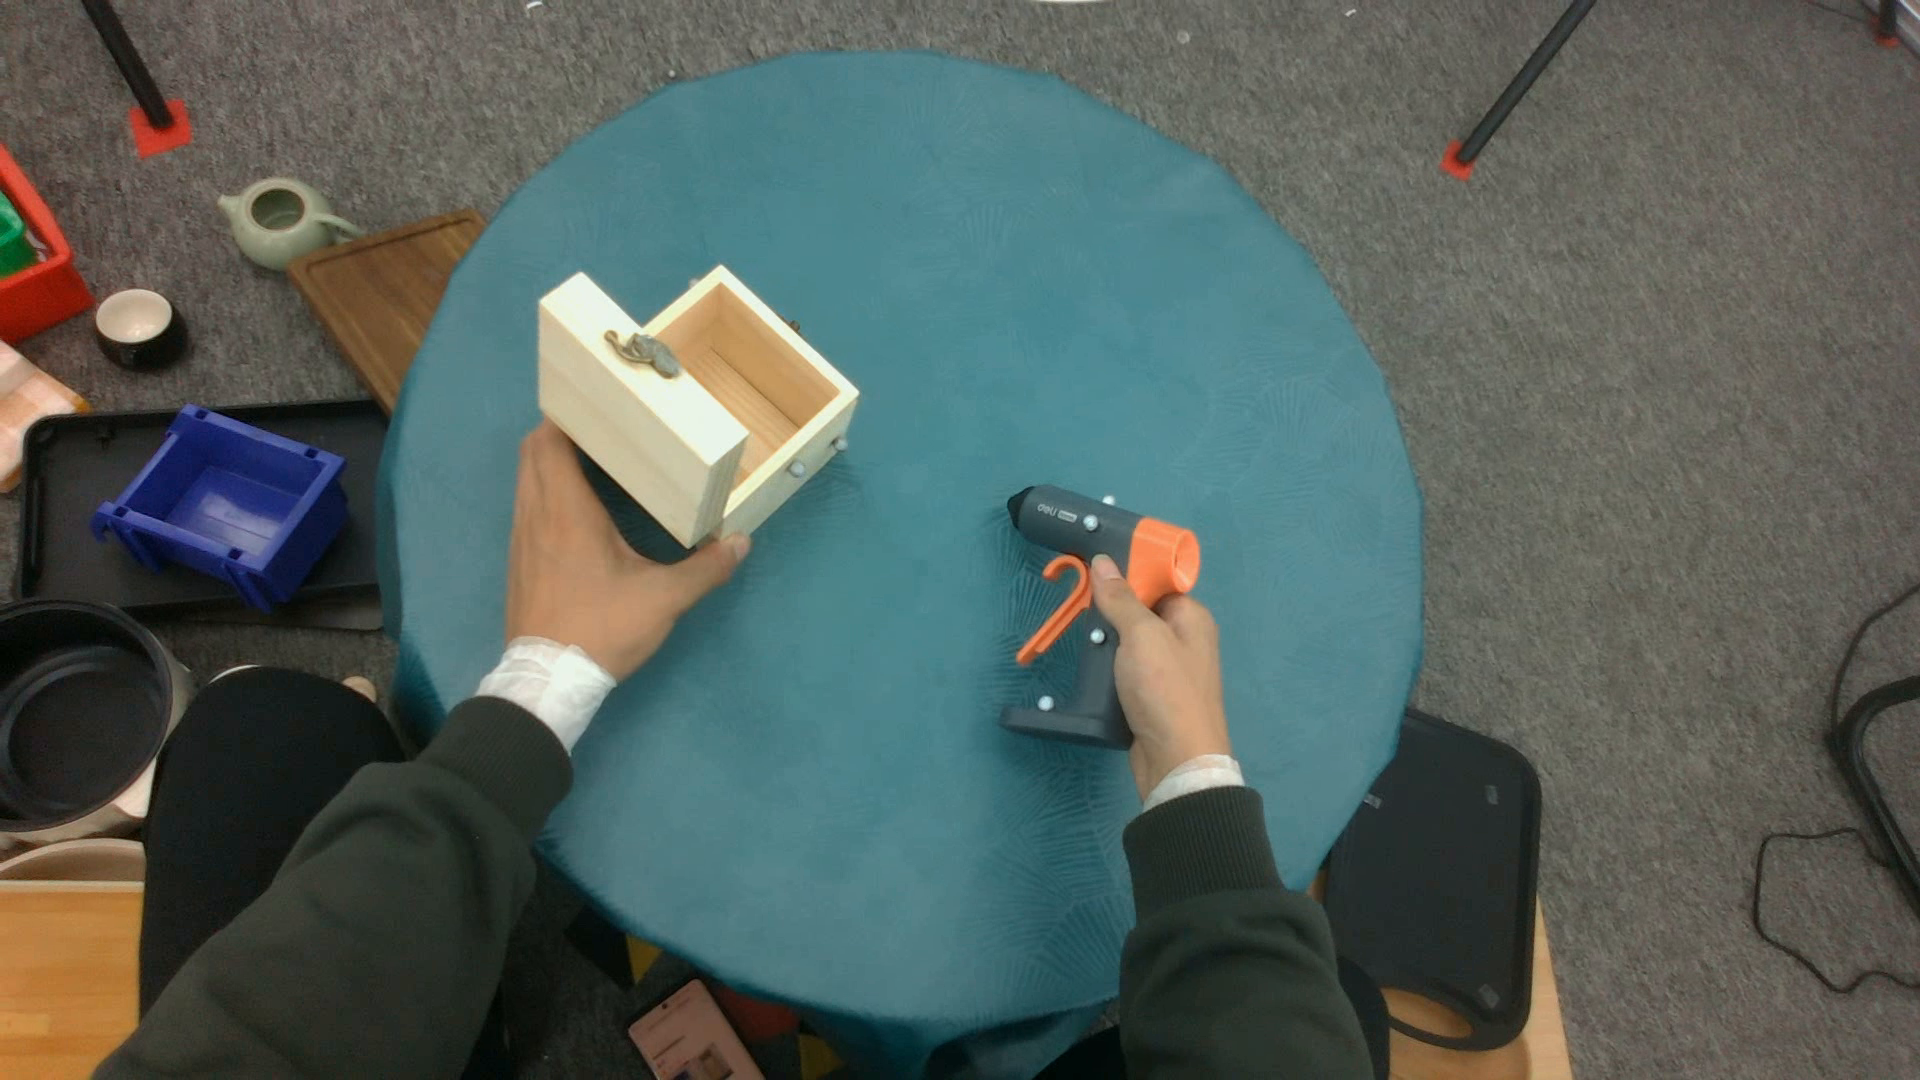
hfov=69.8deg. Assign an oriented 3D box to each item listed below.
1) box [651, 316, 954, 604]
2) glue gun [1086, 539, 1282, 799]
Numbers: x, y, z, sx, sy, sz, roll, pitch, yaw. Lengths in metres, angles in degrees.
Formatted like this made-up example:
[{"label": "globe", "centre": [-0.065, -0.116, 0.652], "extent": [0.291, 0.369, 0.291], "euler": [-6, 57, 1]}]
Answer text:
[{"label": "box", "centre": [-0.076, -0.057, 0.708], "extent": [0.102, 0.183, 0.134], "euler": [42, 66, 8]}, {"label": "glue gun", "centre": [0.111, 0.065, 0.748], "extent": [0.041, 0.117, 0.140], "euler": [29, 68, -42]}]
